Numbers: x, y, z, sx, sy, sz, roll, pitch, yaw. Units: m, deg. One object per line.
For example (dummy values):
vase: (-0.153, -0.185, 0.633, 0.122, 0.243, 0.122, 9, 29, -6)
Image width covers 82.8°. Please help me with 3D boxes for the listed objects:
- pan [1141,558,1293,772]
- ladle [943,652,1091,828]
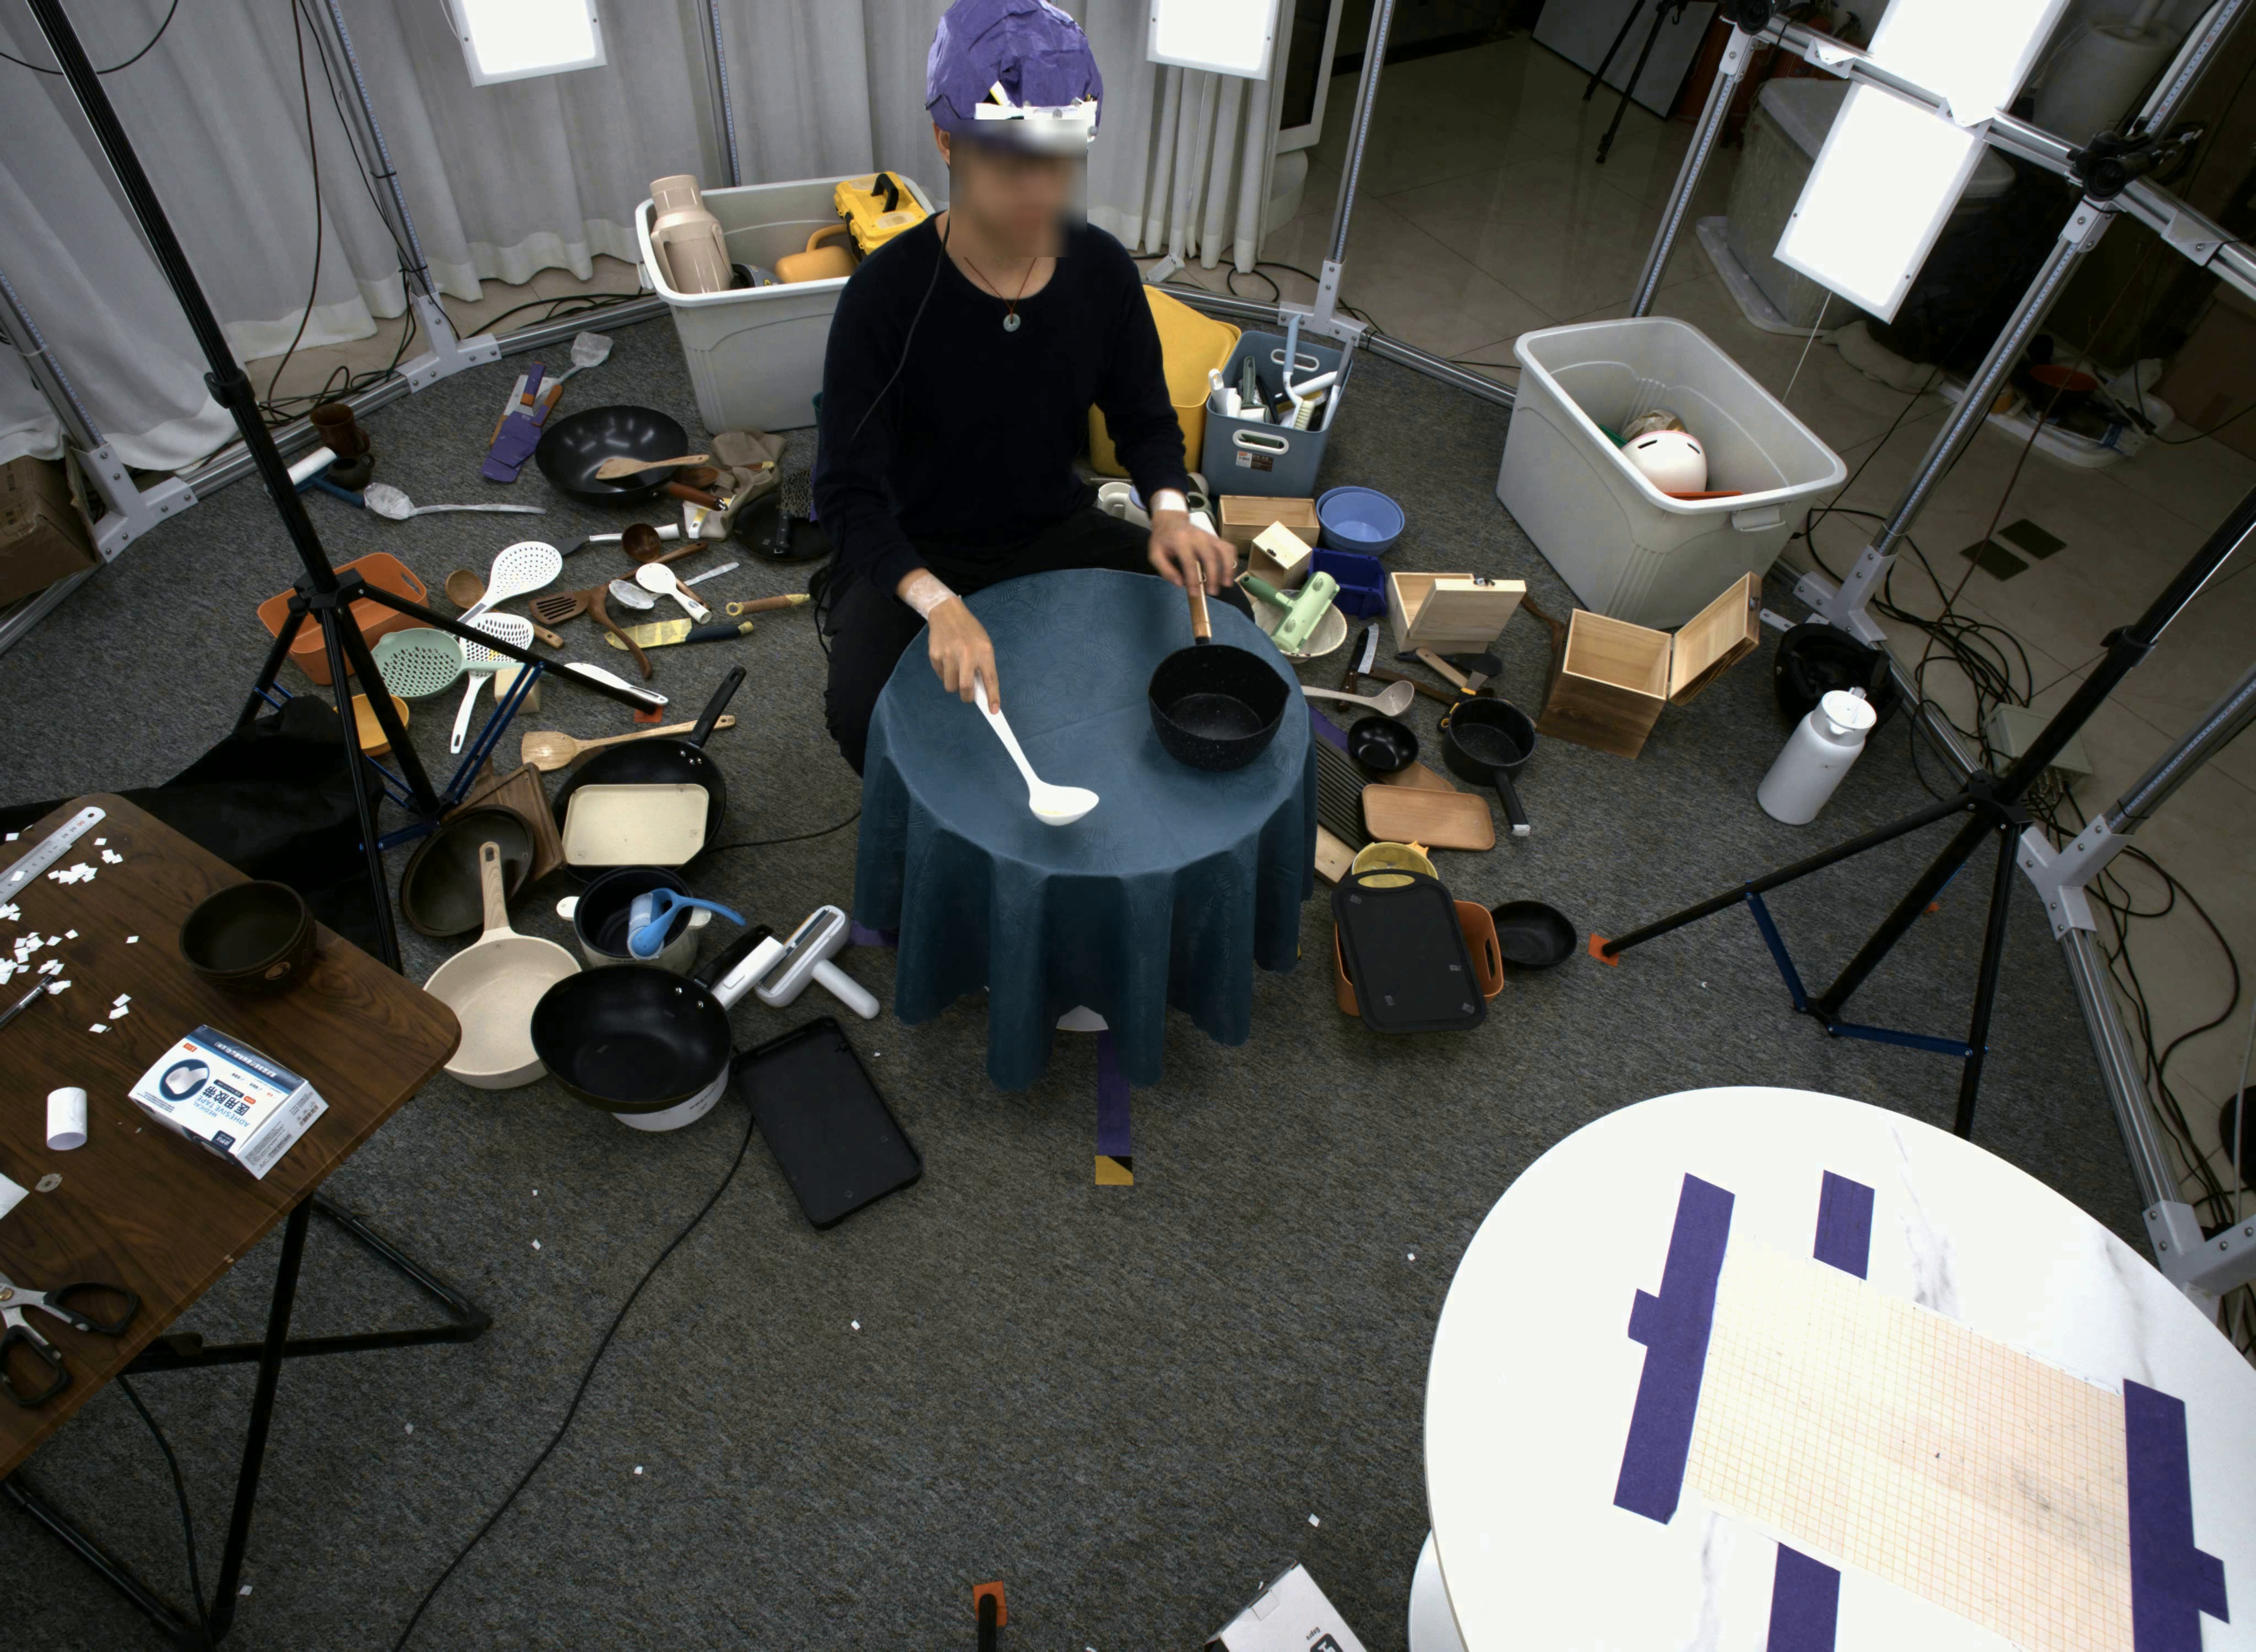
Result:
pan: (0.109, -0.226, 1.802, 0.207, 0.105, 0.351, -5, 51, -7)
ladle: (-0.151, -0.115, 1.645, 0.090, 0.068, 0.297, -23, 68, -27)
